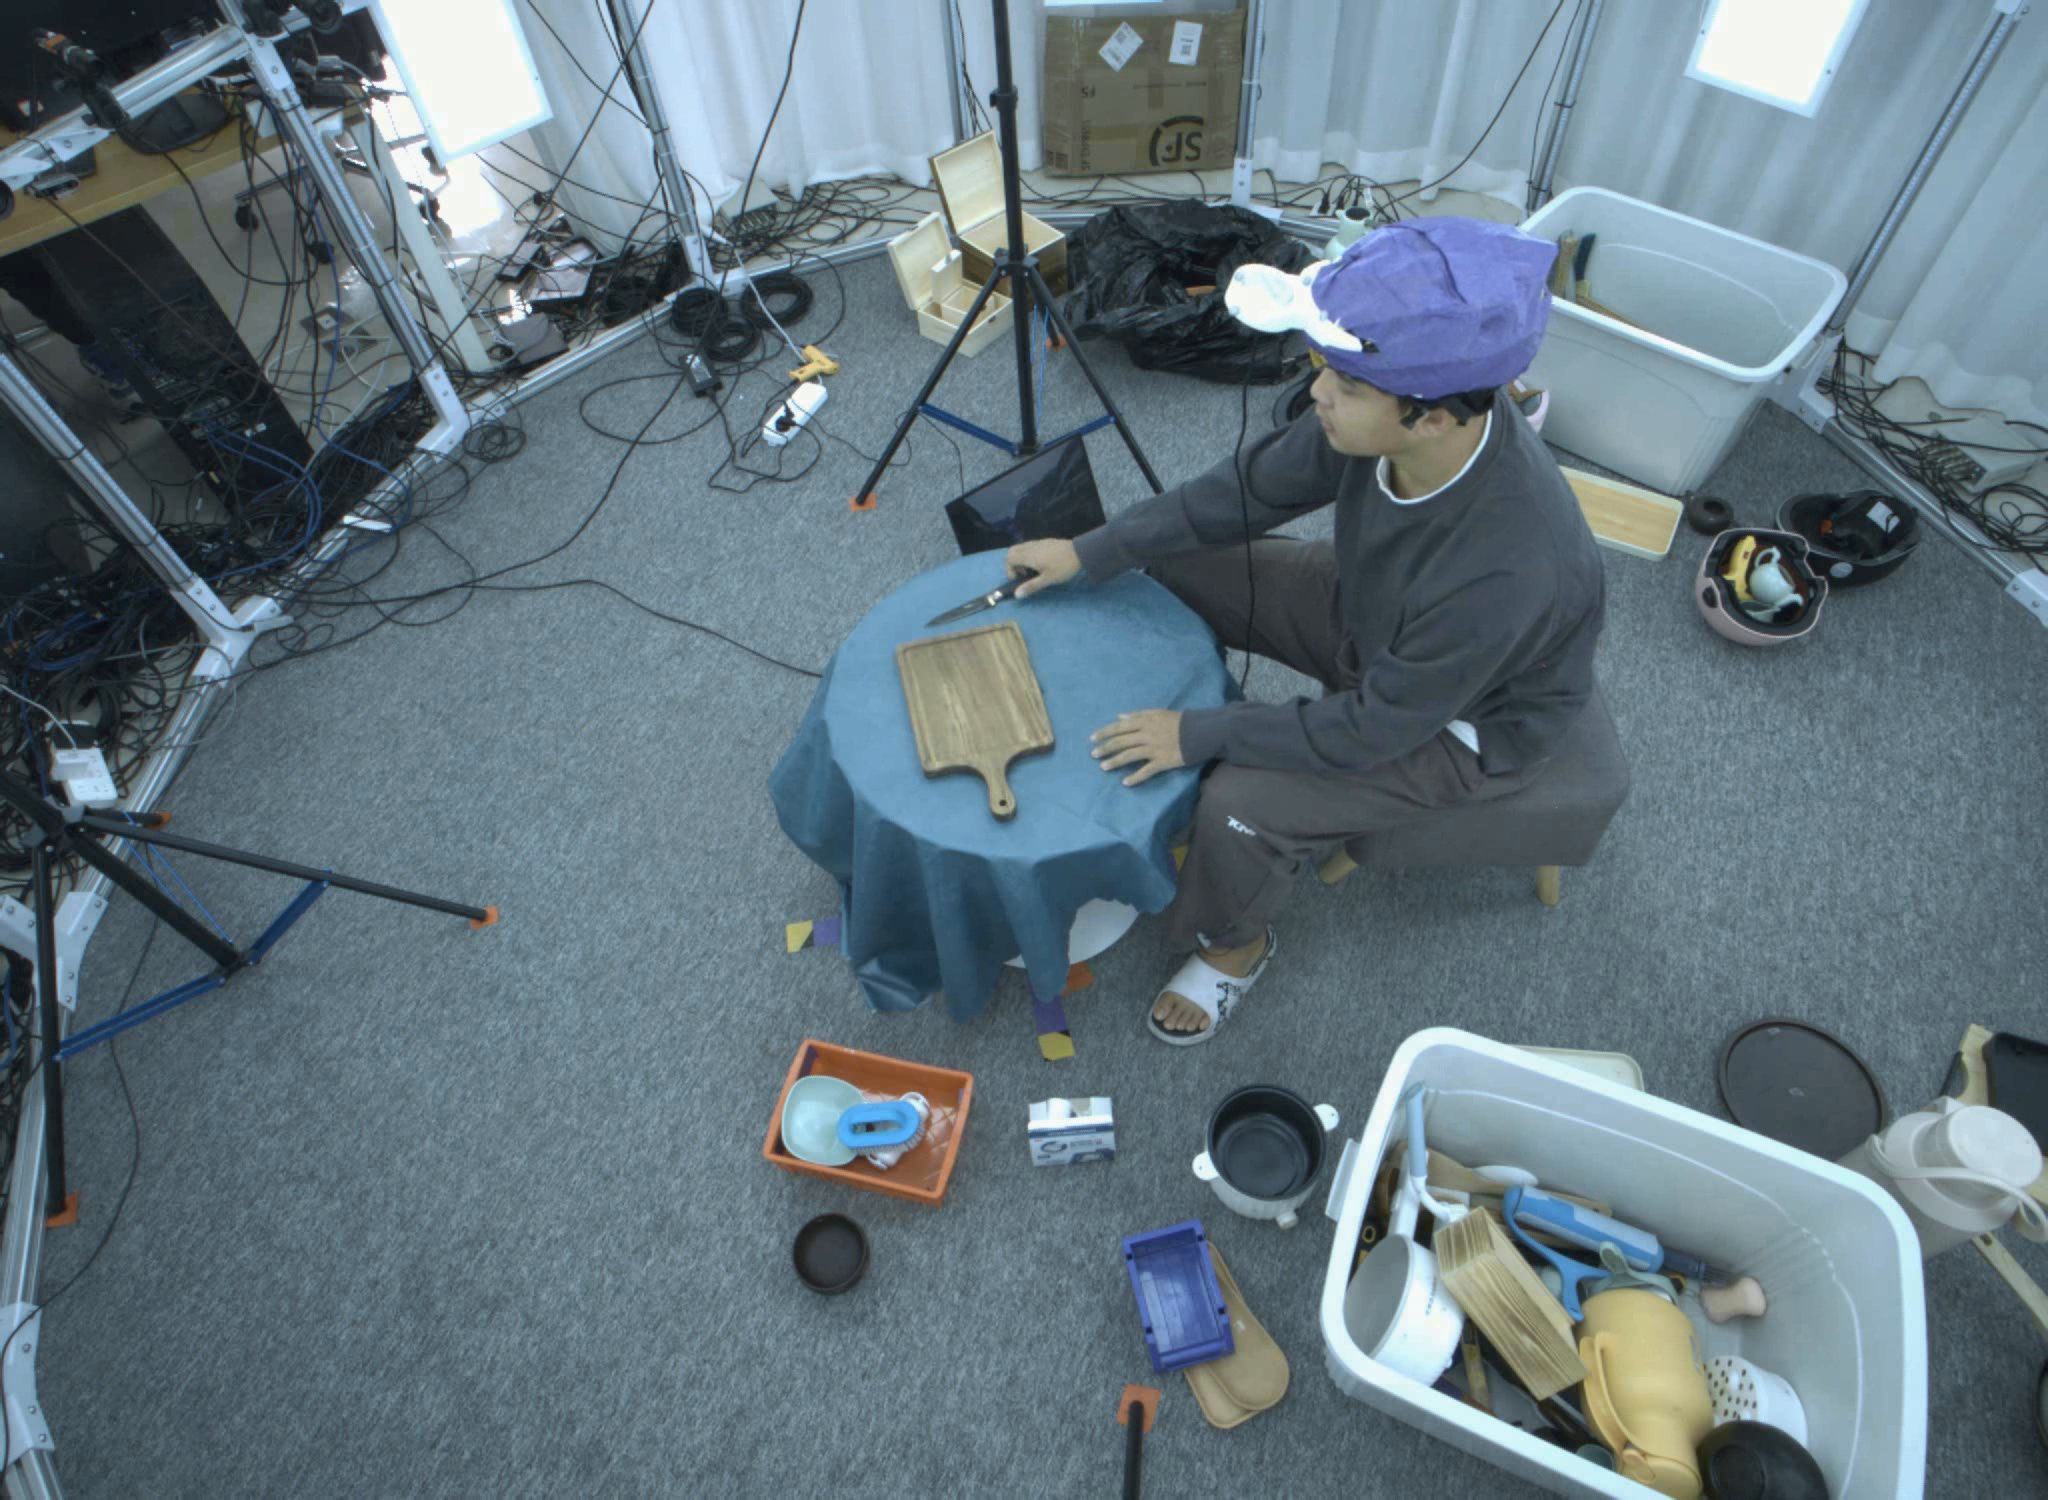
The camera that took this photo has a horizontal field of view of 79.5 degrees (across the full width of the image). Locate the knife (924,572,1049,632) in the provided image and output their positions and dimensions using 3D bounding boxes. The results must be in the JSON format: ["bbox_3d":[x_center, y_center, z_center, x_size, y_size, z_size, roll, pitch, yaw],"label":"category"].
[{"bbox_3d":[-0.059,-0.235,1.949,0.227,0.017,0.026,-24,64,-14],"label":"knife"}]

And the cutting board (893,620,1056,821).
[{"bbox_3d":[-0.066,-0.043,1.807,0.202,0.023,0.346,-12,56,-7],"label":"cutting board"}]
